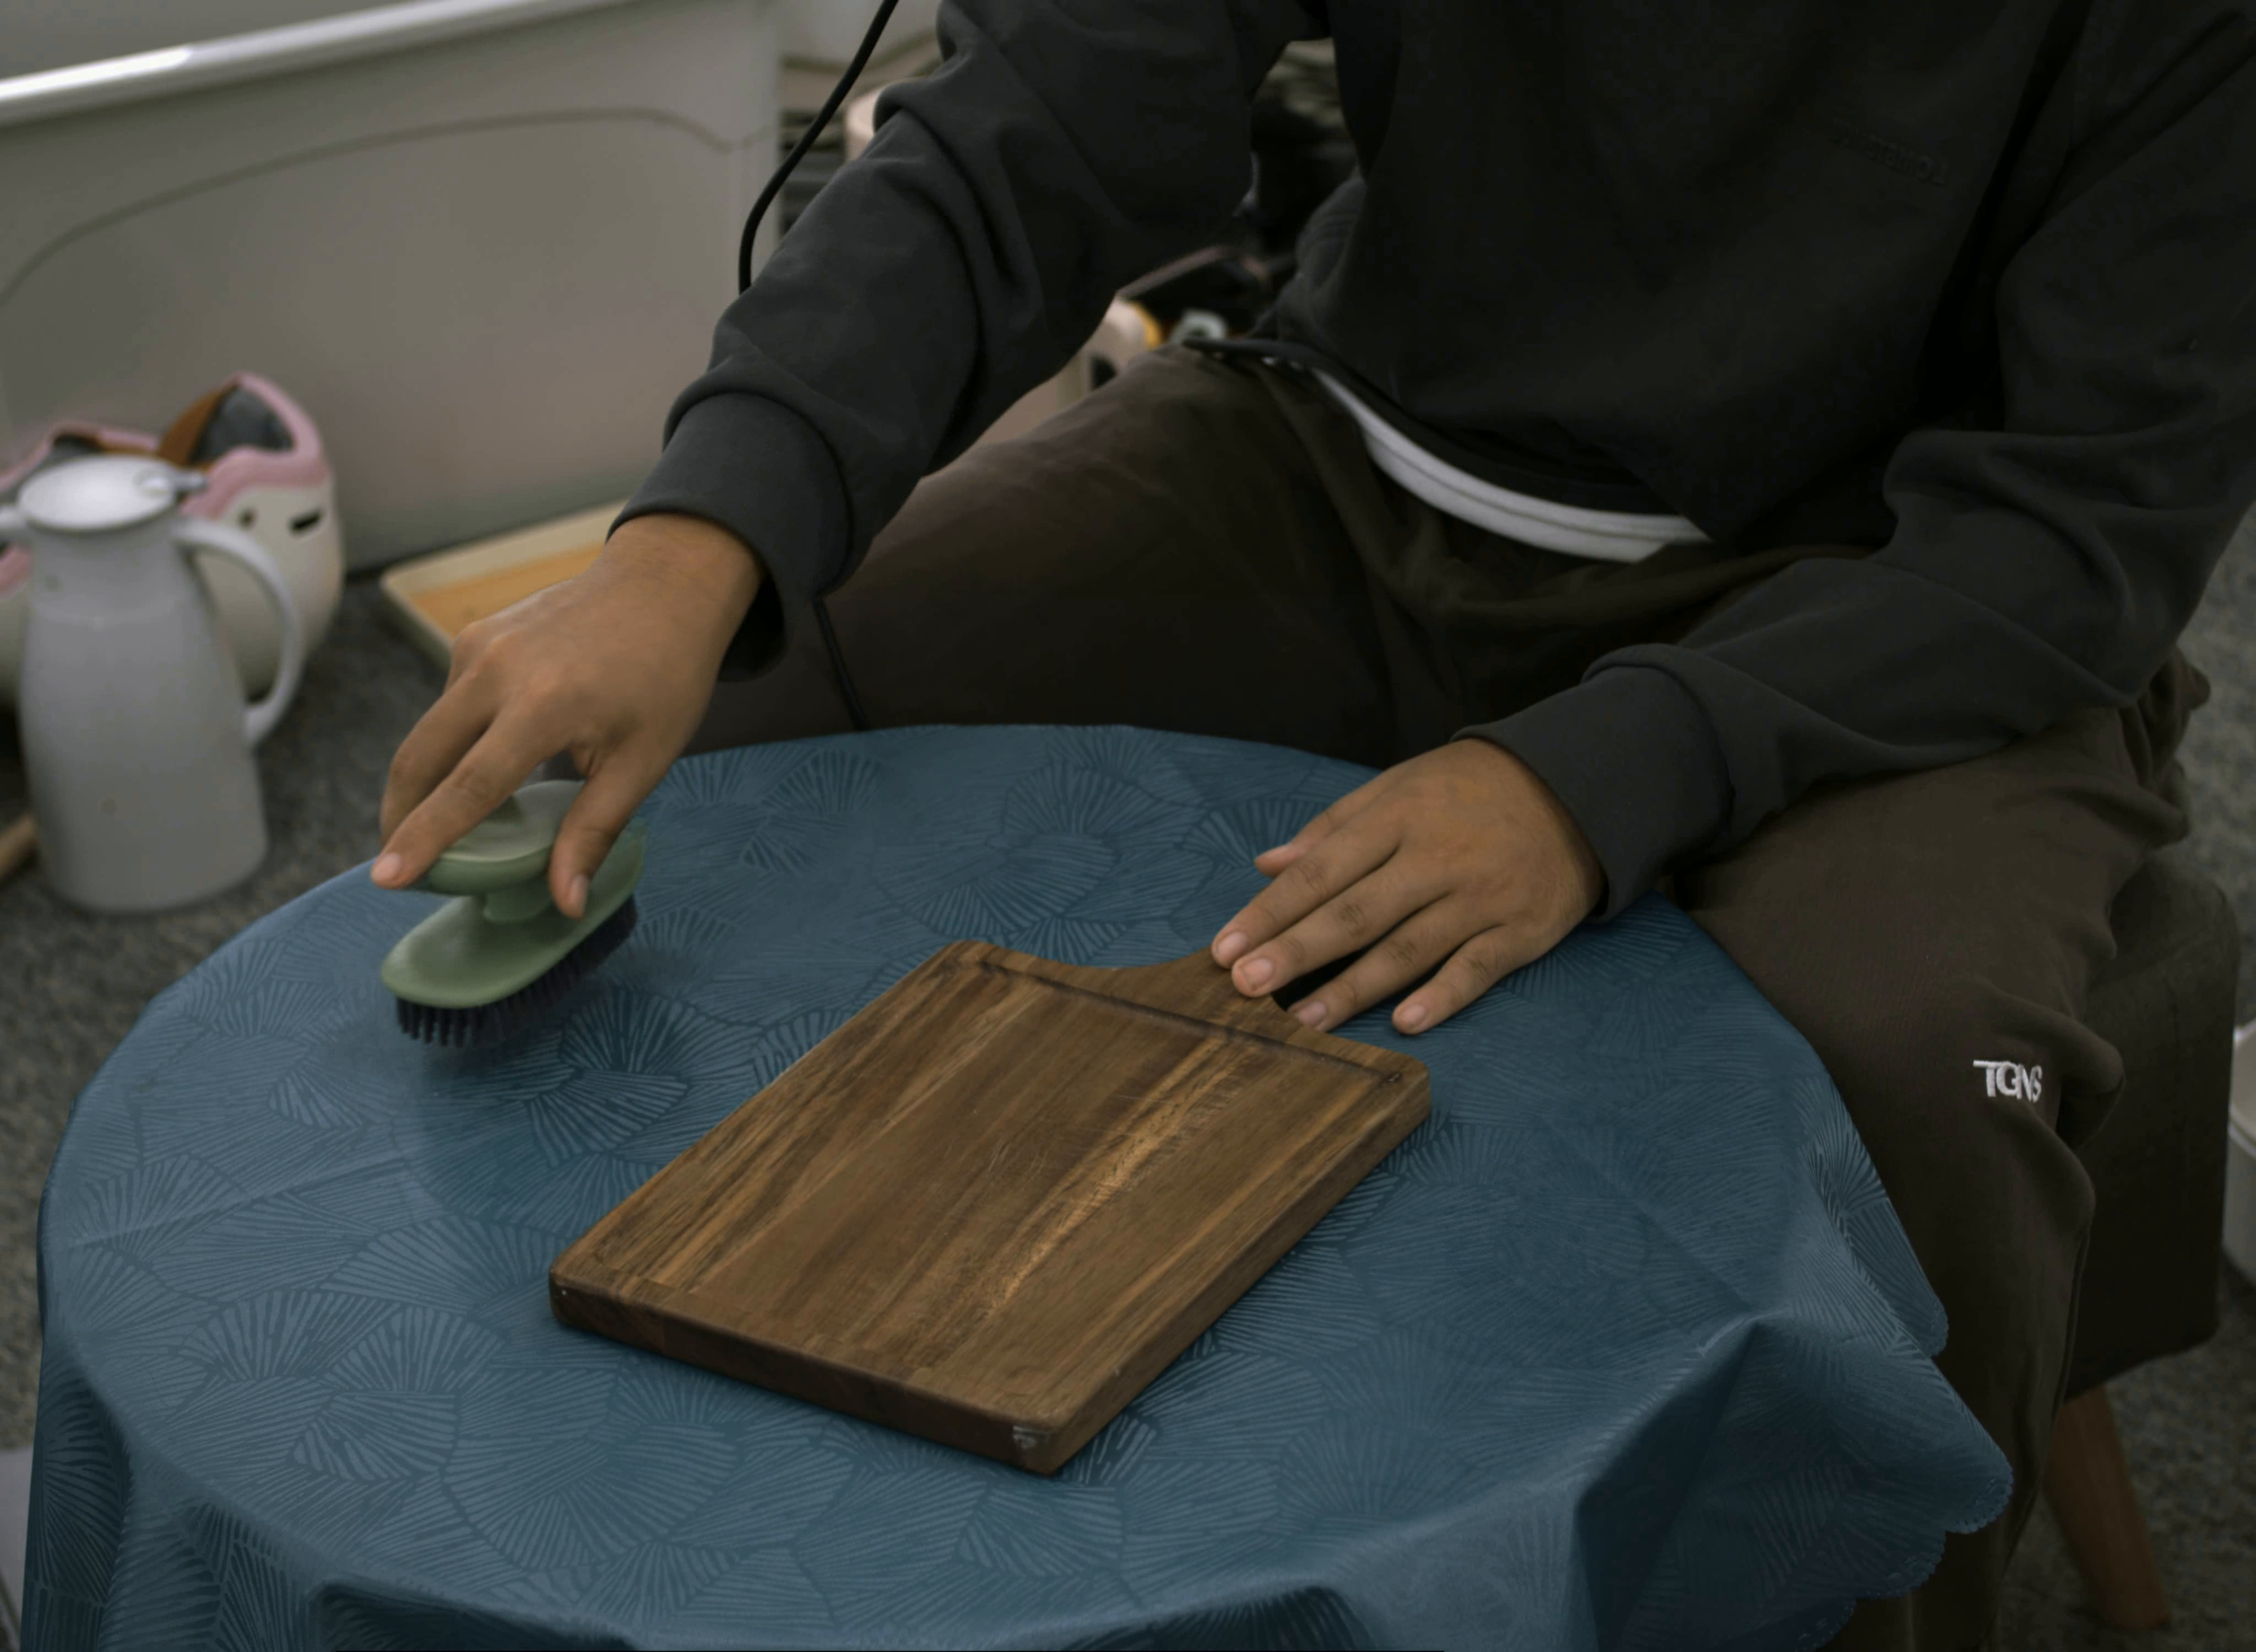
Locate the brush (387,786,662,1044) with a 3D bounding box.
[{"bbox_3d":[-0.213,0.030,1.973,0.059,0.075,0.124,16,18,26],"label":"brush"}]

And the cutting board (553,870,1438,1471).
[{"bbox_3d":[-0.014,0.099,1.888,0.200,0.023,0.358,14,31,28],"label":"cutting board"}]
